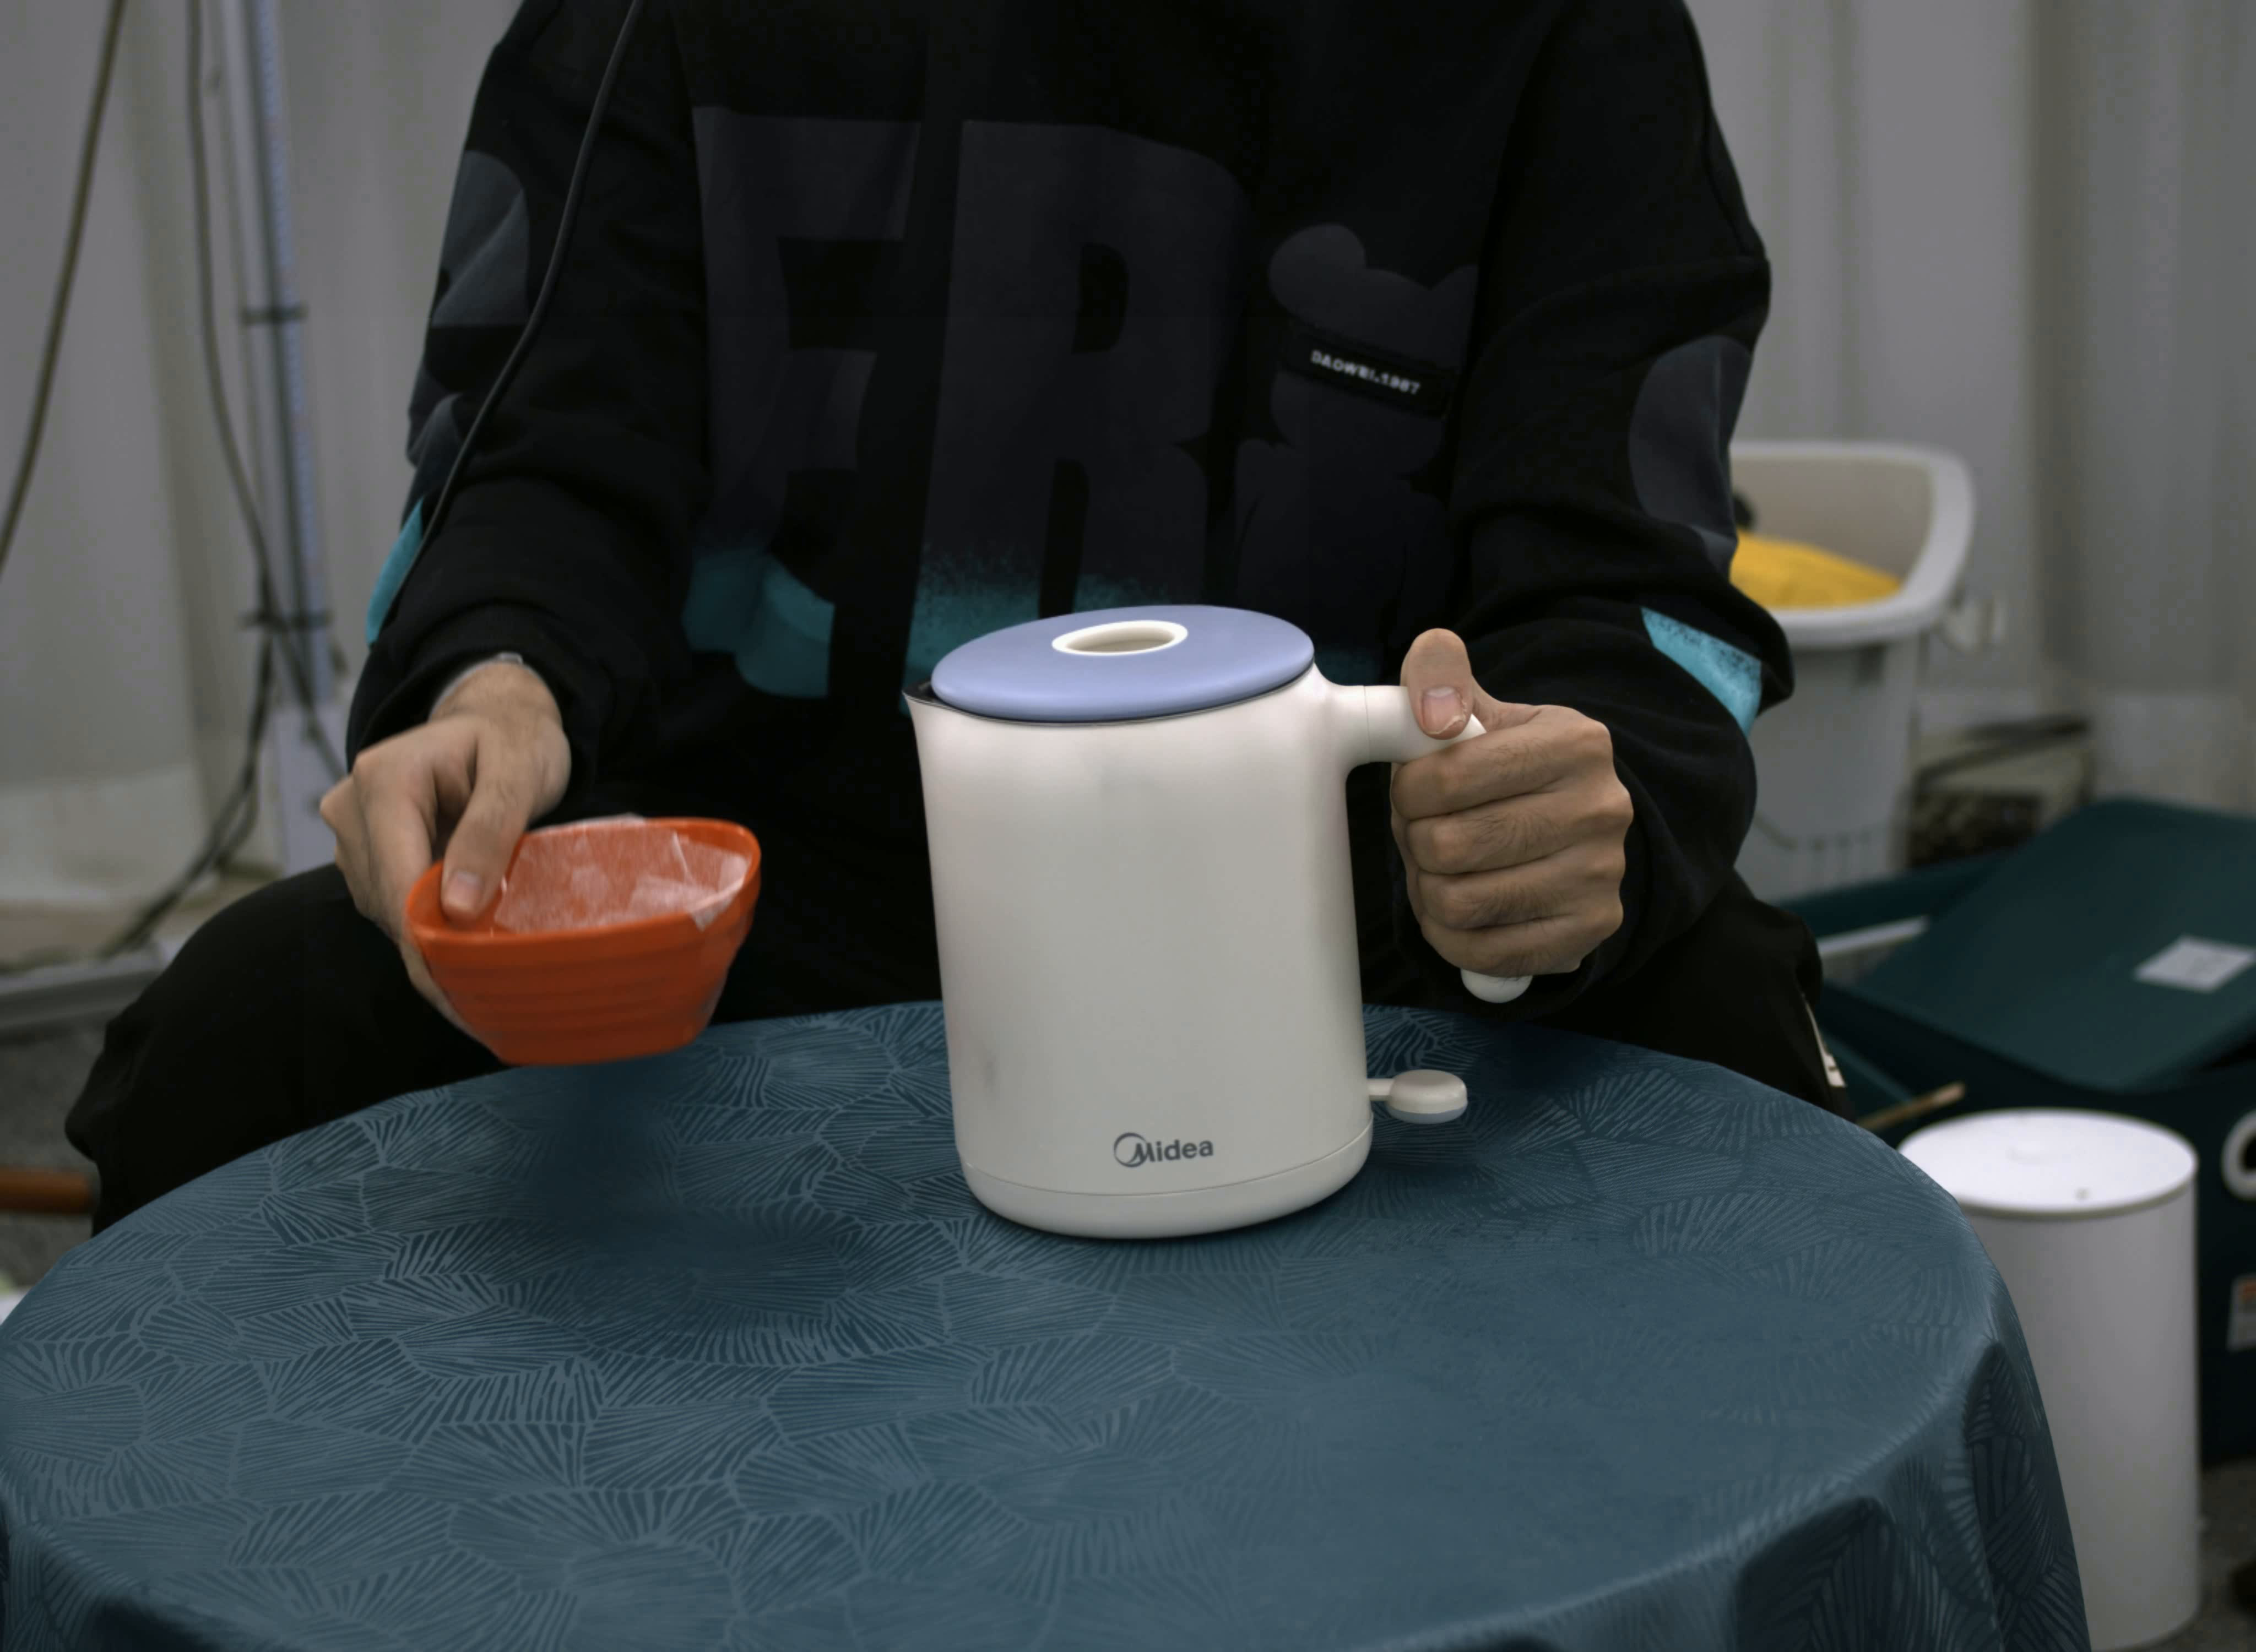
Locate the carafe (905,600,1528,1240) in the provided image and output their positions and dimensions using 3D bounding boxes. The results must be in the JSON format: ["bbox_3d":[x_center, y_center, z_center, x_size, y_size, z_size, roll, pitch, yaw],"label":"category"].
[{"bbox_3d":[0.029,0.027,1.701,0.190,0.182,0.133,-3,15,-1],"label":"carafe"}]

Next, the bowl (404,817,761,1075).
[{"bbox_3d":[-0.165,0.040,1.690,0.118,0.051,0.120,-7,19,2],"label":"bowl"}]
